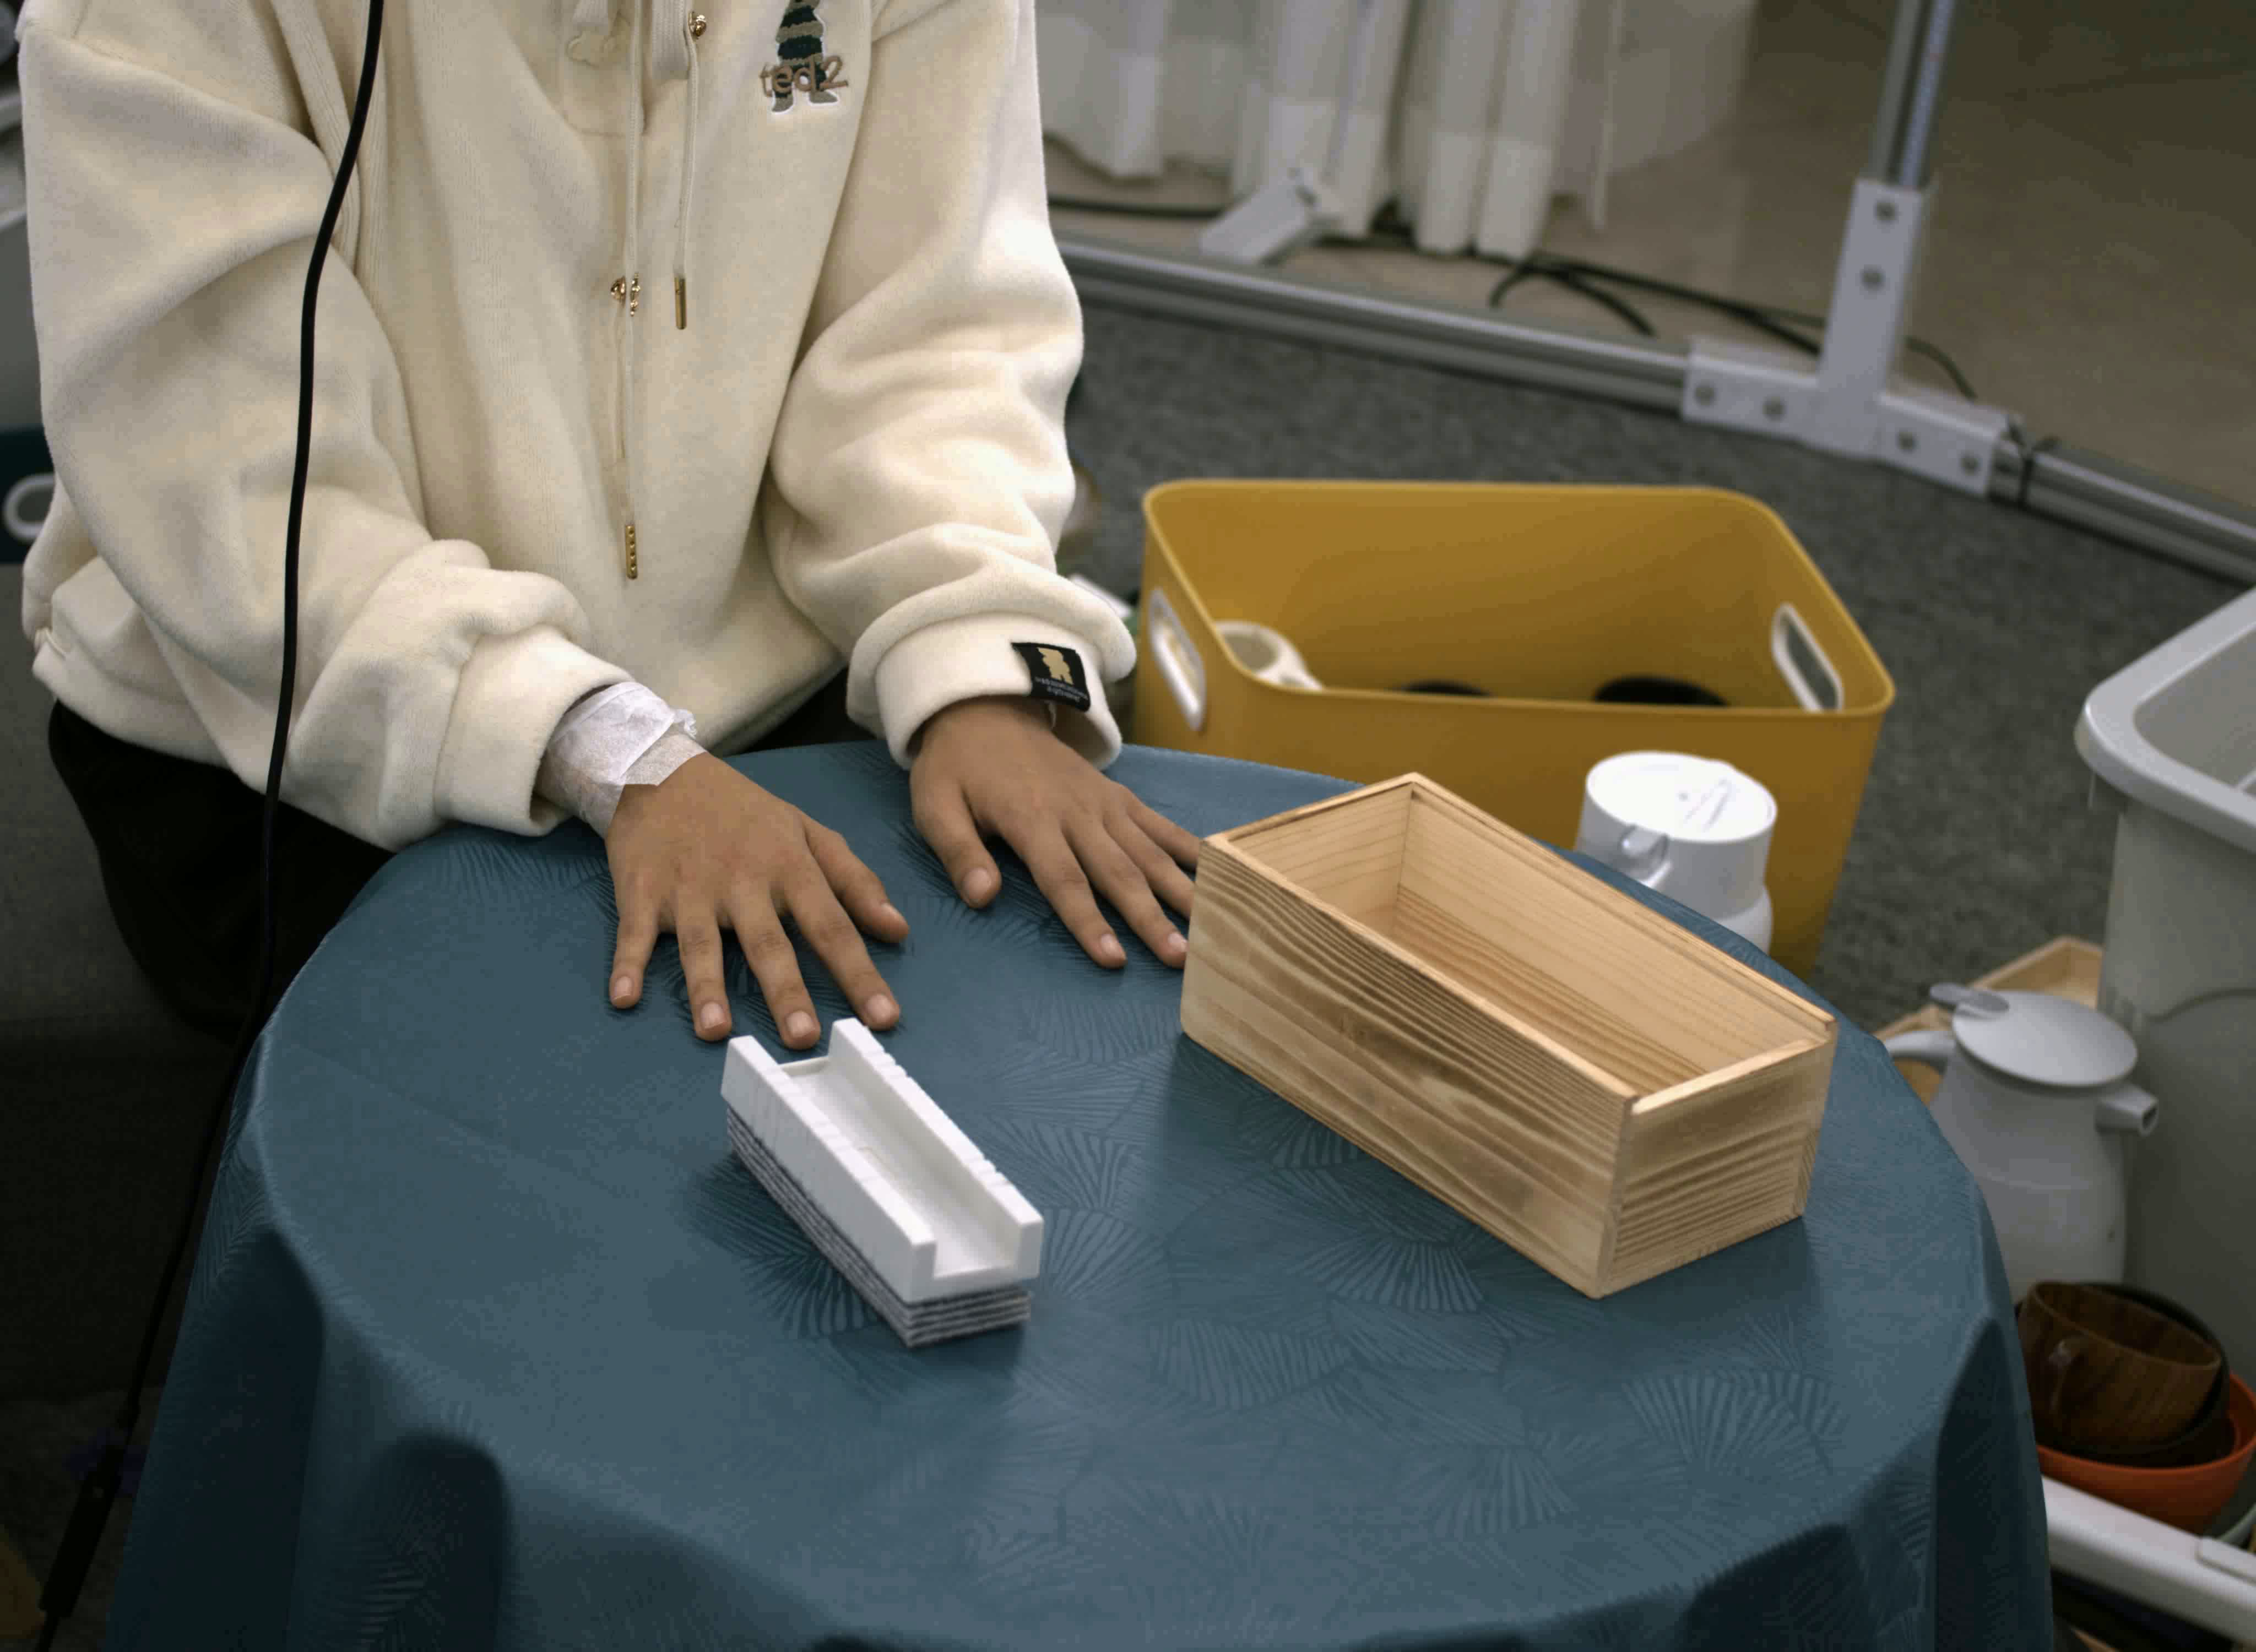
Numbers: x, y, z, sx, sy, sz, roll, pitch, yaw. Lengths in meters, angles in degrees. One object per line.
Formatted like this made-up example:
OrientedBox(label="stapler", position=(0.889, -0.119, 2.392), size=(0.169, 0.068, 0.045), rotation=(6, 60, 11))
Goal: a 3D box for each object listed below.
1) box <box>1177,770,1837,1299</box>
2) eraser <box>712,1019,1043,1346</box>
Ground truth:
OrientedBox(label="box", position=(0.128, 0.069, 1.852), size=(0.107, 0.080, 0.213), rotation=(-17, 36, -39))
OrientedBox(label="eraser", position=(-0.084, 0.116, 1.746), size=(0.049, 0.046, 0.135), rotation=(-12, 34, -30))
